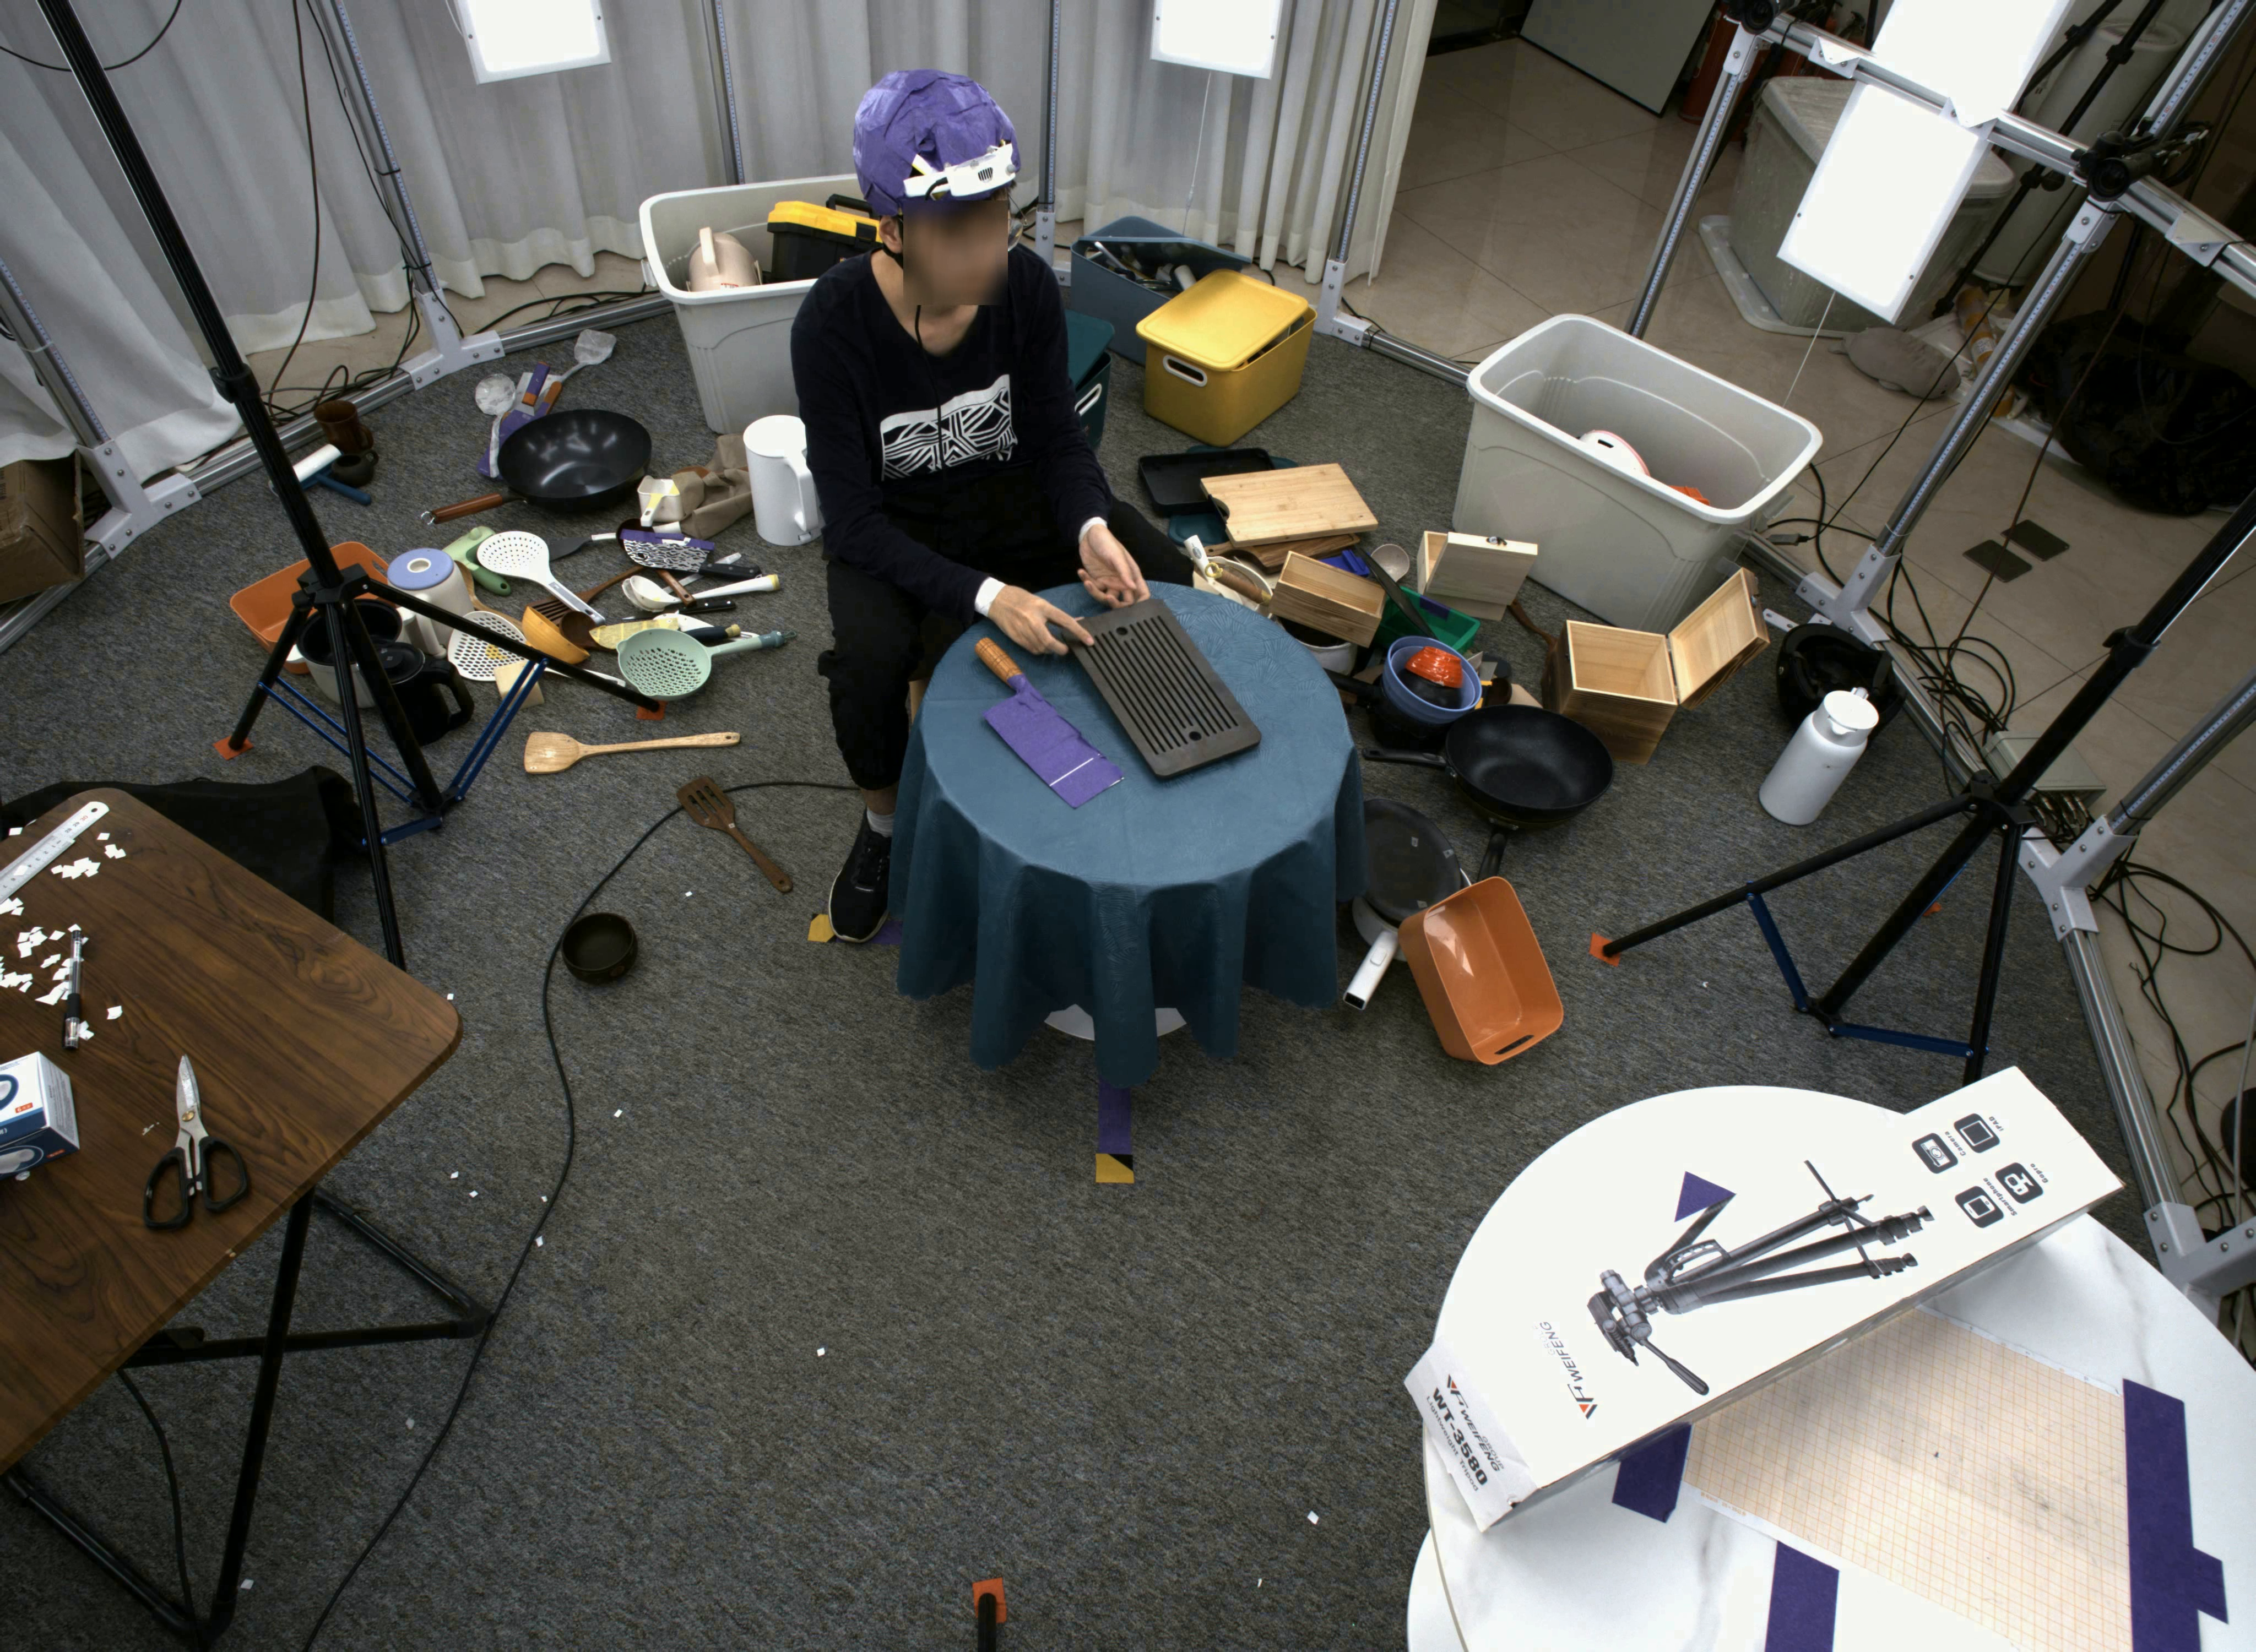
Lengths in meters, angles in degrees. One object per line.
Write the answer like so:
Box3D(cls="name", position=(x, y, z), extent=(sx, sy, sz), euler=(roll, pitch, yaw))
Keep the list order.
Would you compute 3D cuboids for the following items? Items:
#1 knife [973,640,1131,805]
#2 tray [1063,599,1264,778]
Box3D(cls="knife", position=(-0.134, -0.146, 1.768), extent=(0.104, 0.031, 0.320), euler=(-31, 58, -27))
Box3D(cls="tray", position=(0.046, -0.200, 1.821), extent=(0.170, 0.018, 0.312), euler=(-20, 56, -20))
